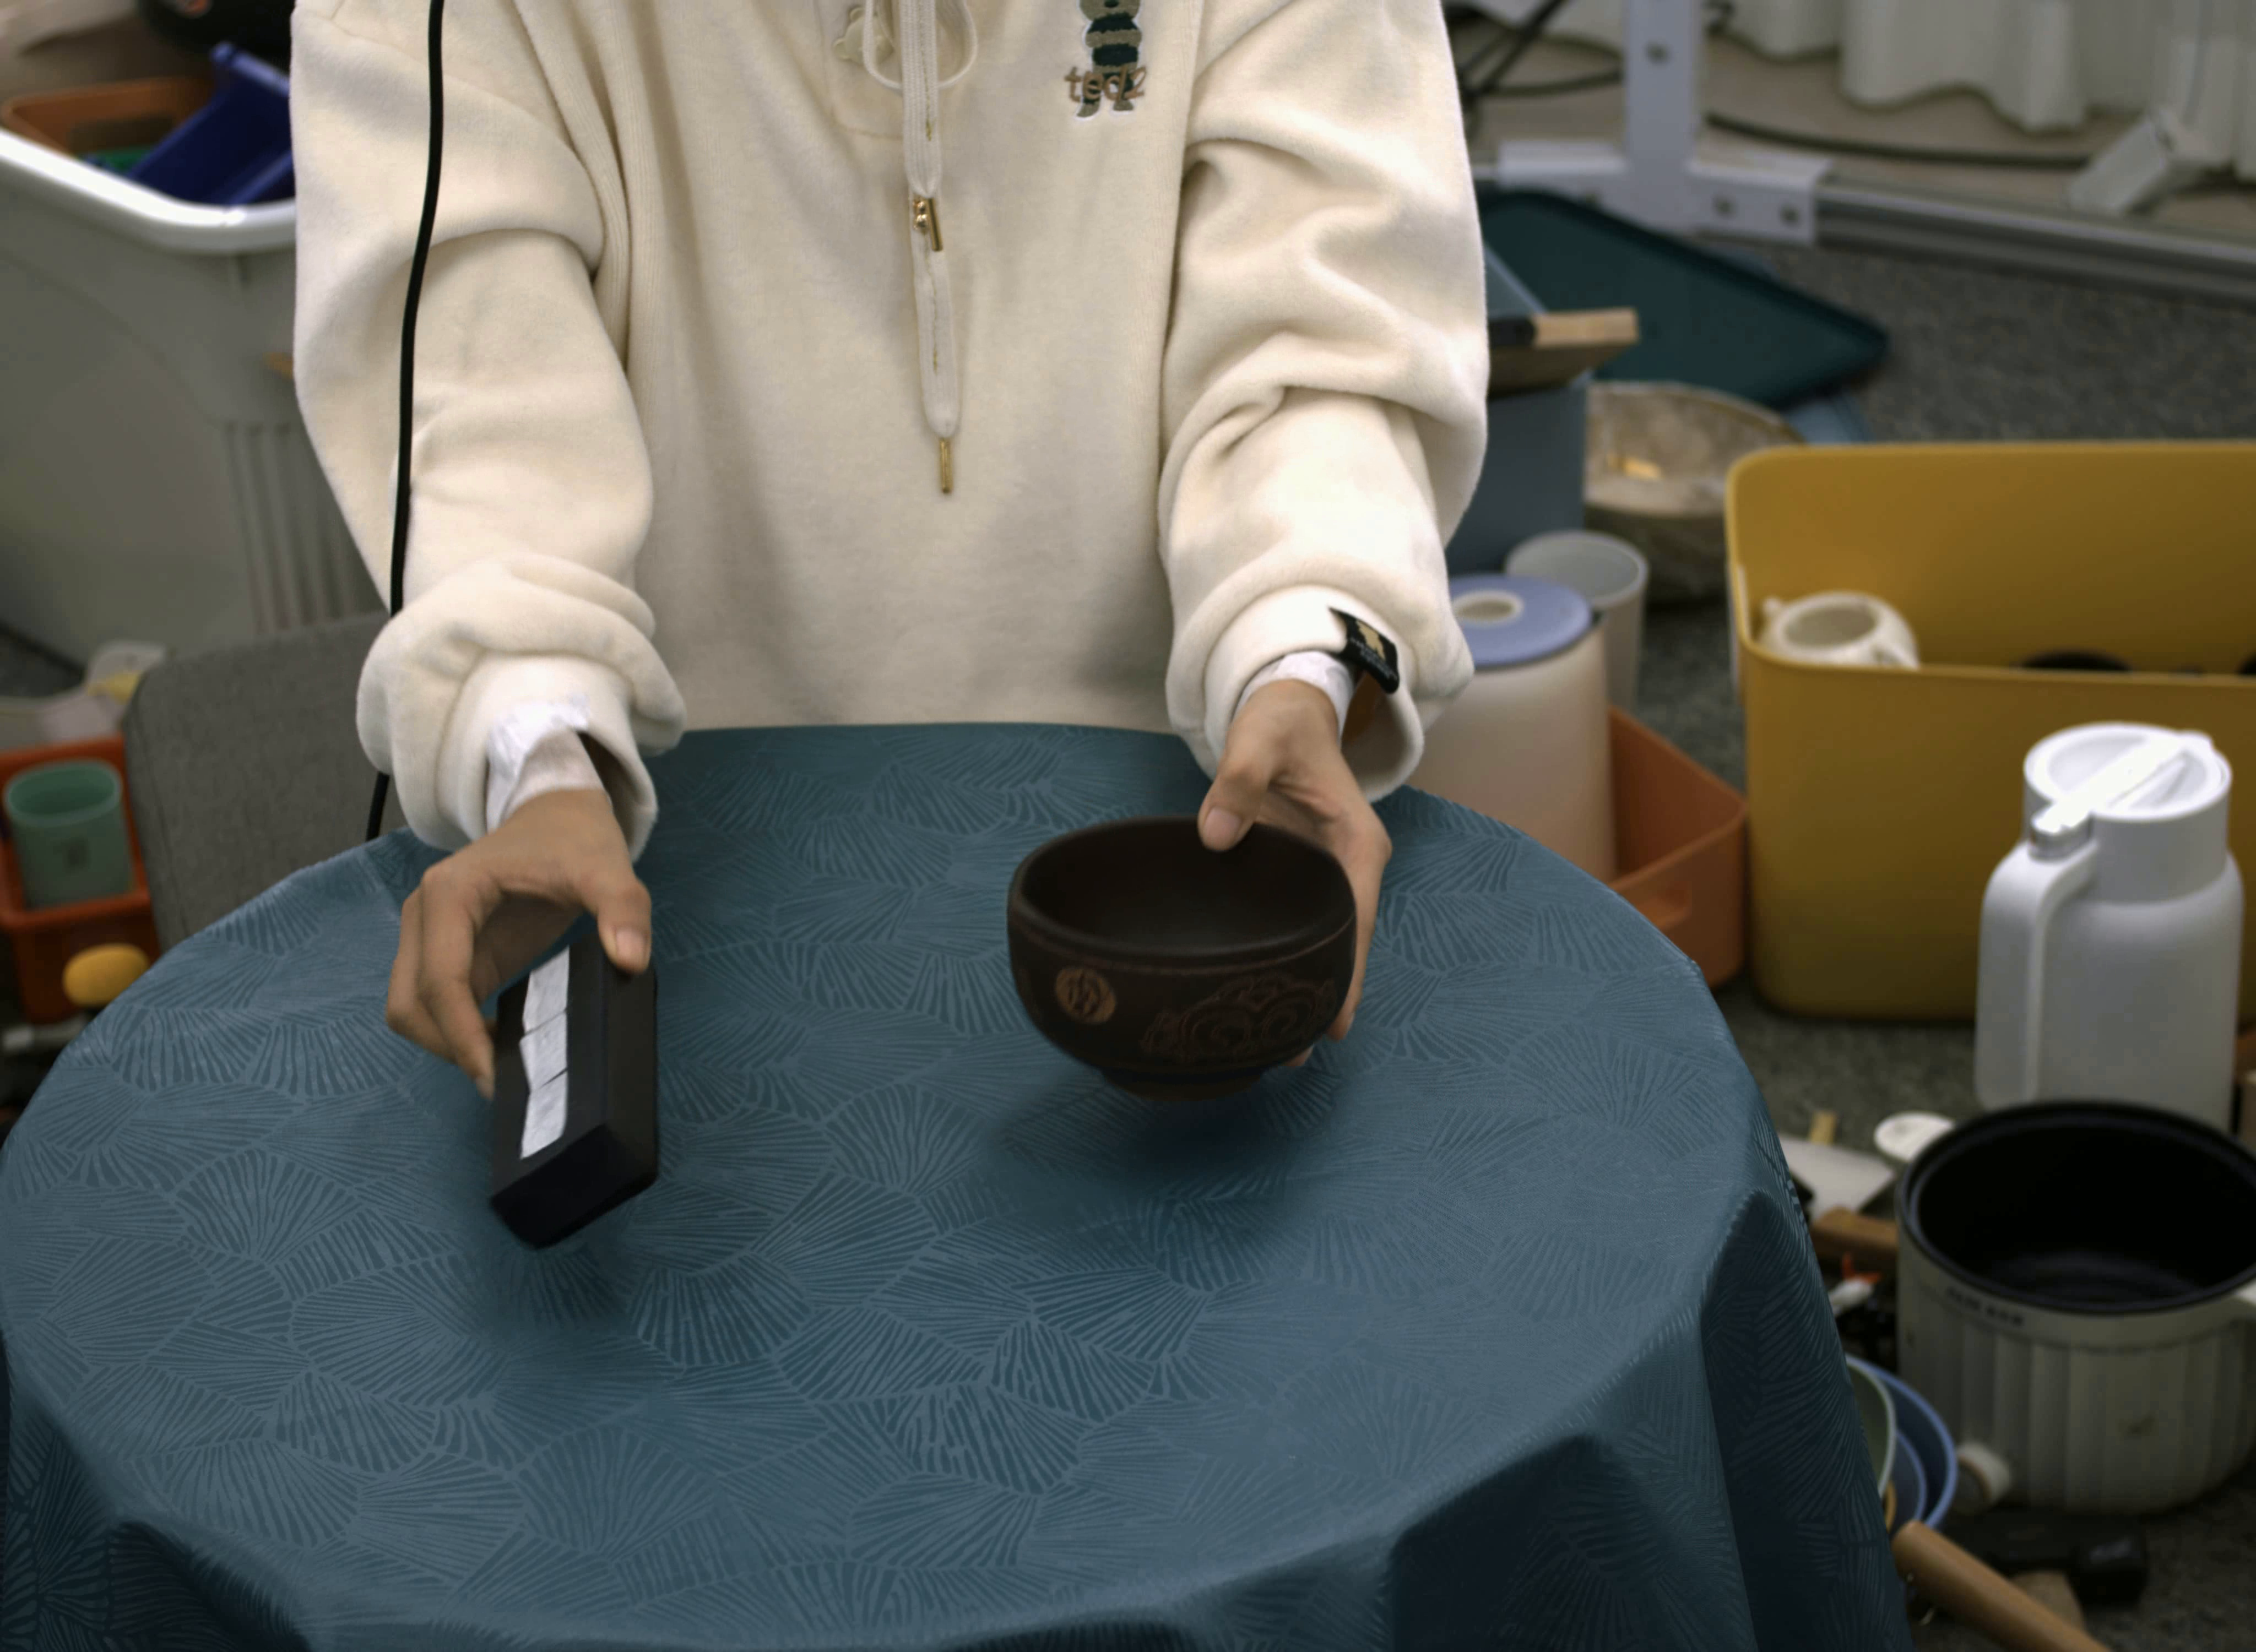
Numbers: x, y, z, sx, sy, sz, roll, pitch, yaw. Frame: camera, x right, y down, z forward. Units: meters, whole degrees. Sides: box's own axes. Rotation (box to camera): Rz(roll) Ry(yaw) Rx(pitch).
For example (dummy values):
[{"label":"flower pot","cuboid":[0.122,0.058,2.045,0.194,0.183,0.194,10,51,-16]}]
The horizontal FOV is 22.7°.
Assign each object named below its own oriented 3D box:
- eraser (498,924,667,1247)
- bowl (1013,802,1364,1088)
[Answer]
[{"label":"eraser","cuboid":[-0.177,0.084,1.834,0.053,0.030,0.127,-34,27,13]},{"label":"bowl","cuboid":[0.020,0.045,1.887,0.117,0.069,0.119,1,22,0]}]
